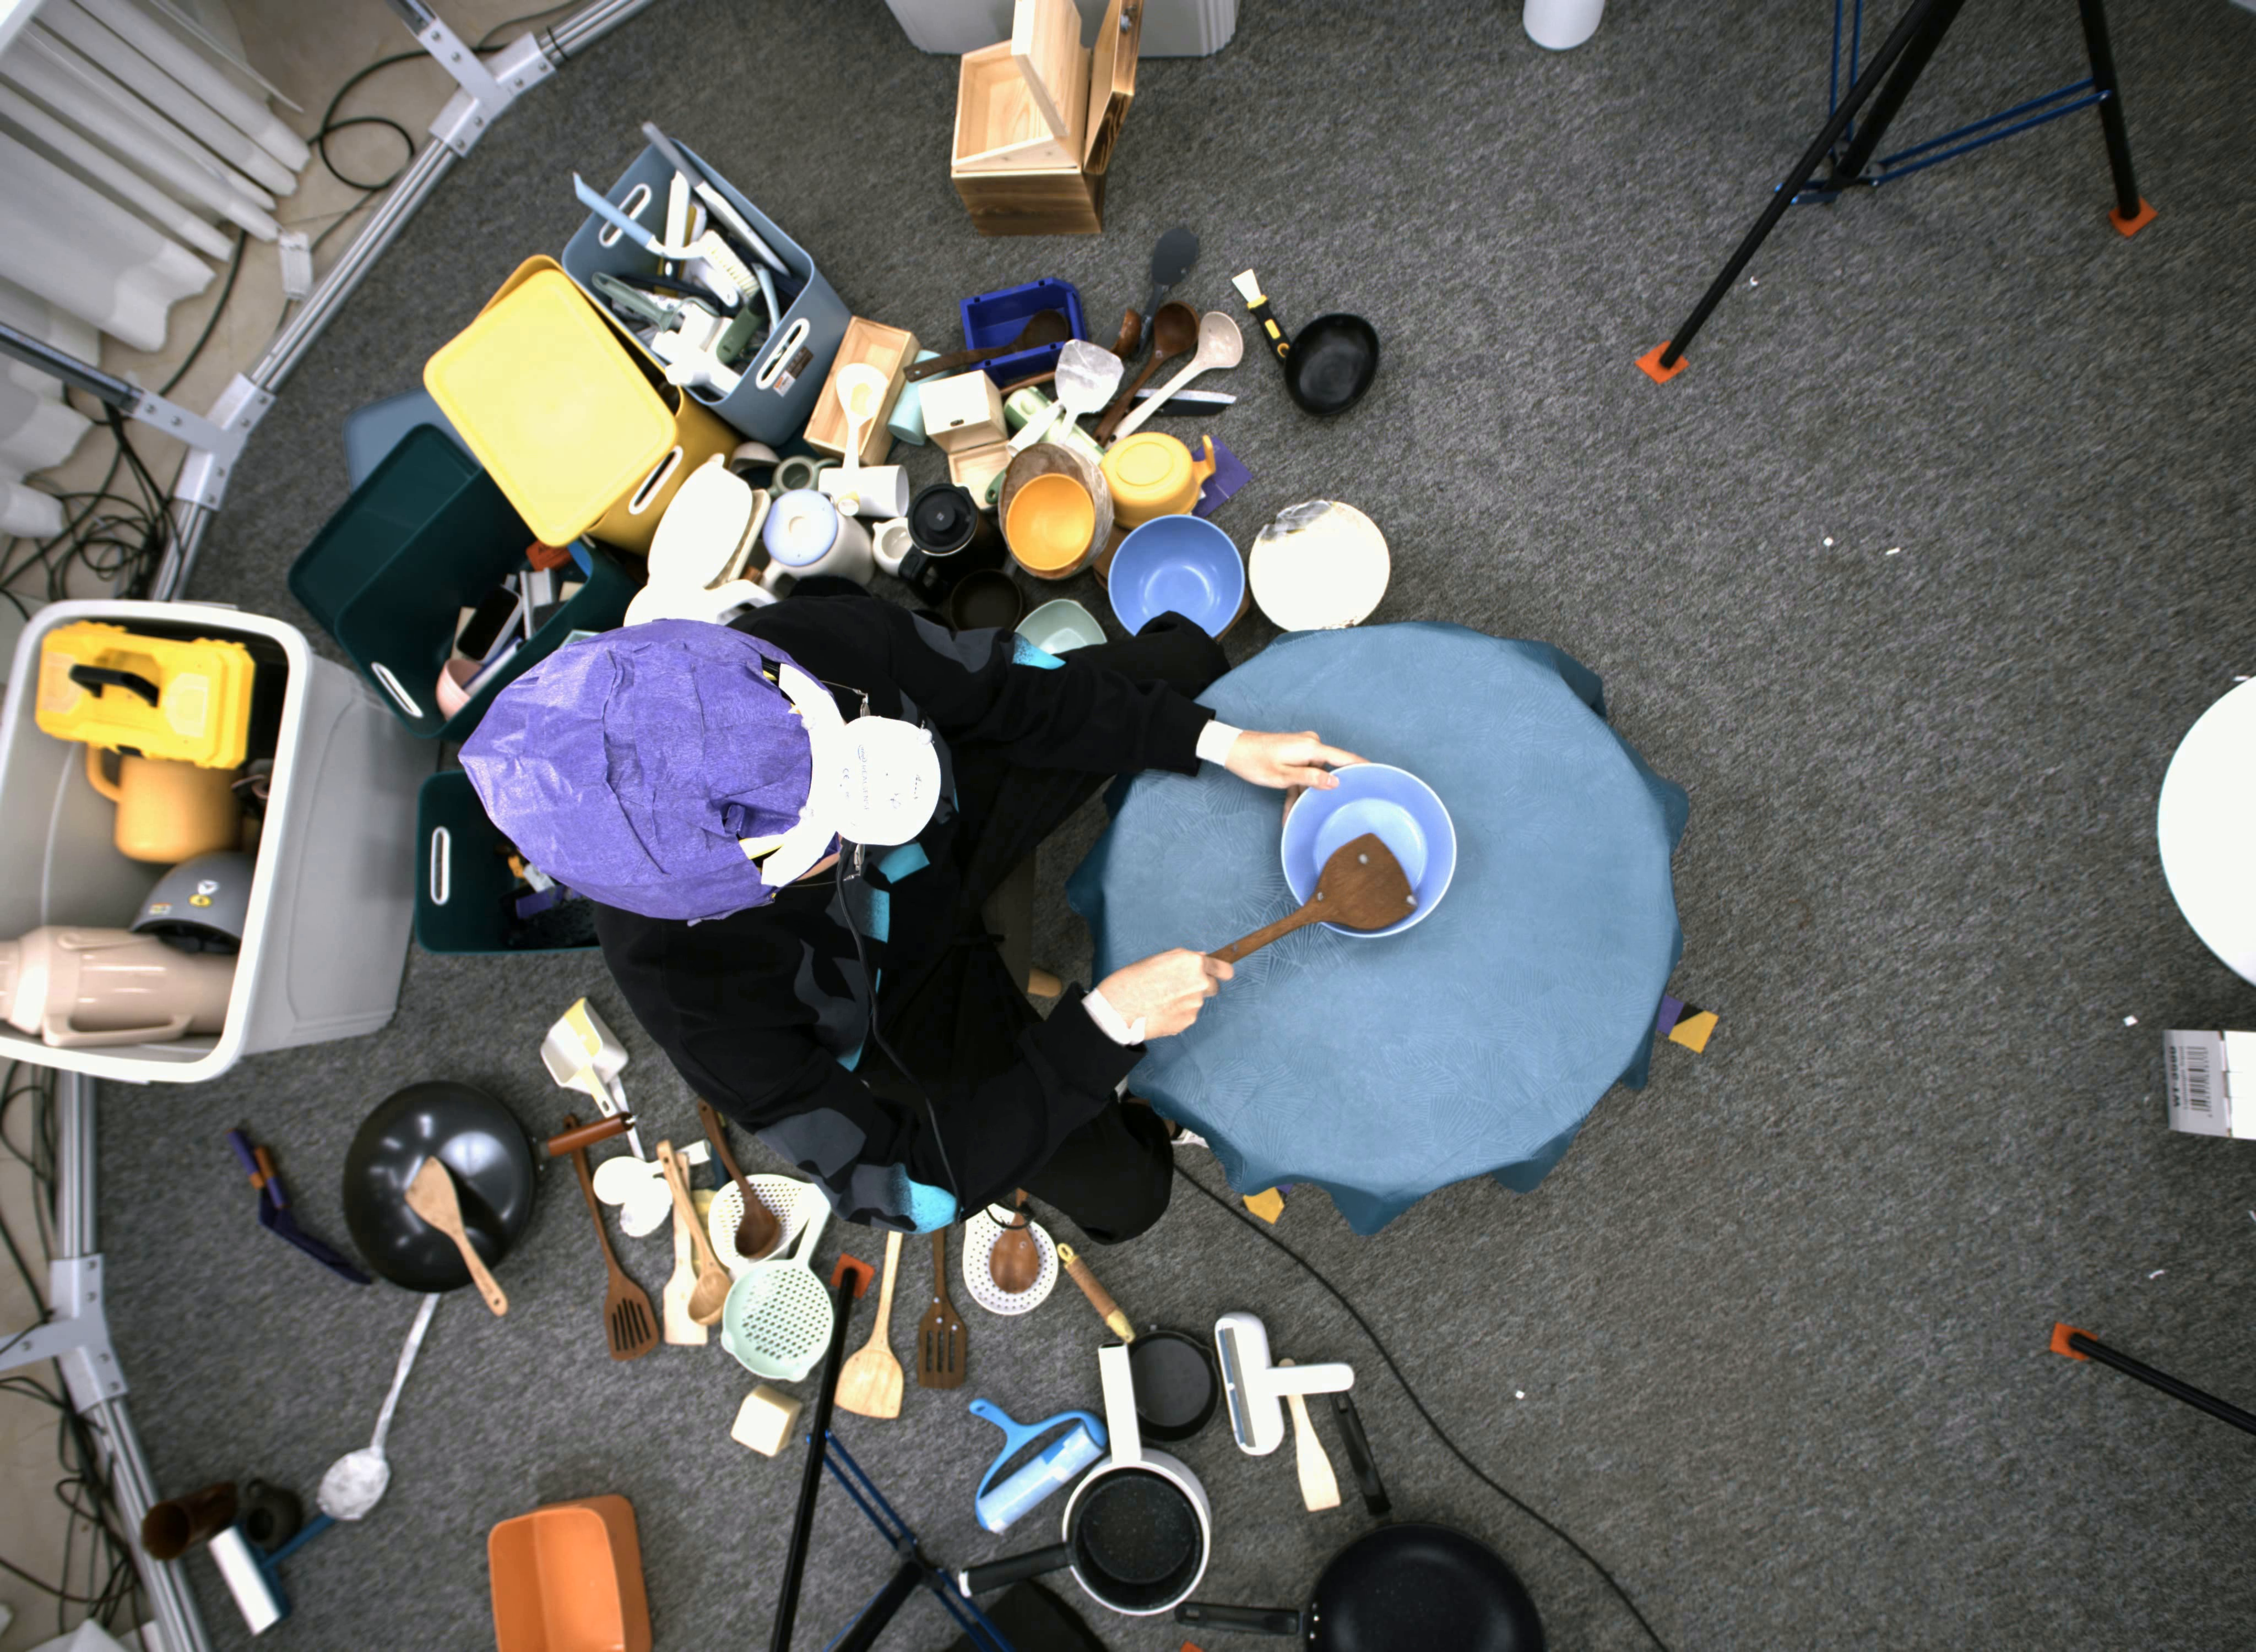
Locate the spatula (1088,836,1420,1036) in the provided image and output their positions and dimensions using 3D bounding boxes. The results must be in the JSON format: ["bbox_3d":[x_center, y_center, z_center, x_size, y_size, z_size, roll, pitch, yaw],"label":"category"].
[{"bbox_3d":[0.125,0.113,1.334,0.381,0.016,0.095,-24,81,-25],"label":"spatula"}]

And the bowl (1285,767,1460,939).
[{"bbox_3d":[0.254,0.029,1.428,0.177,0.070,0.175,-1,86,14],"label":"bowl"}]
